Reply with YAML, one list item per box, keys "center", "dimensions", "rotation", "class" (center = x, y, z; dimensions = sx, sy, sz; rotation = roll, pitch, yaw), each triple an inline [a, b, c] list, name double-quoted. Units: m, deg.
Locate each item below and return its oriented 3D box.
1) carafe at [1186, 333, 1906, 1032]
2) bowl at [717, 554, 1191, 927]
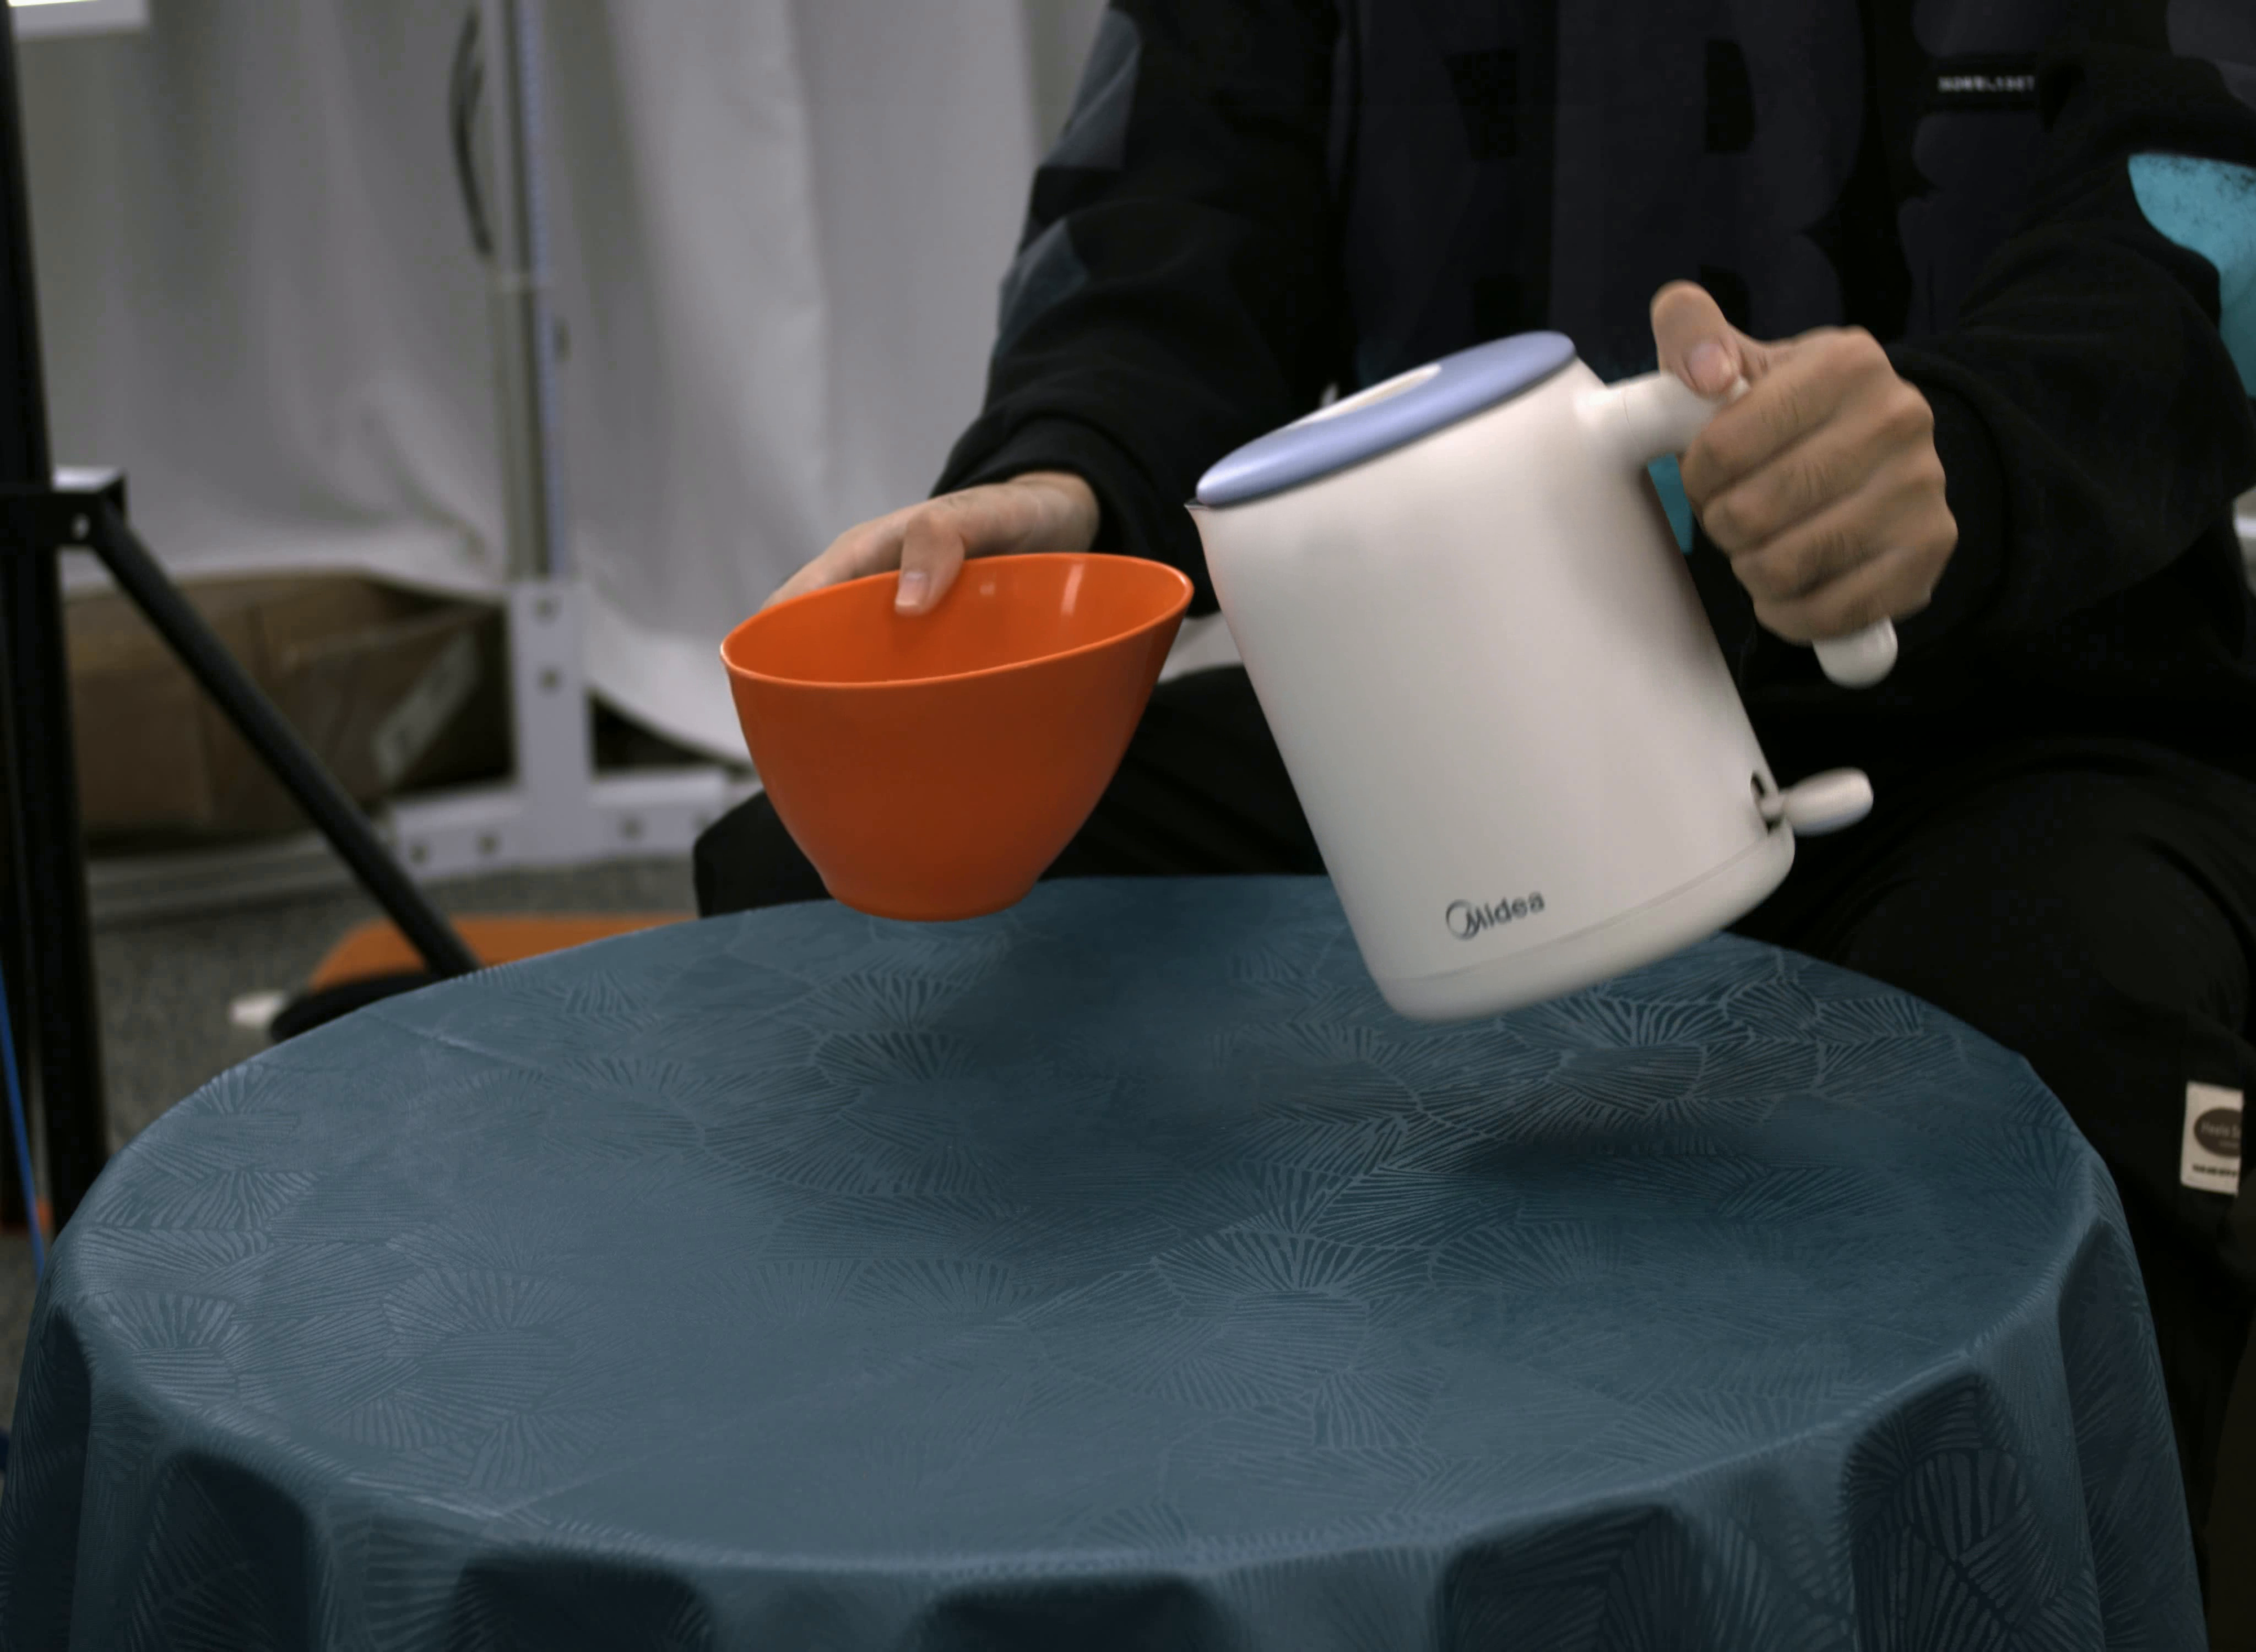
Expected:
- center: [0.128, -0.047, 1.541]
  dimensions: [0.193, 0.182, 0.131]
  rotation: [-15, 11, 25]
  class: "carafe"
- center: [-0.055, -0.026, 1.664]
  dimensions: [0.147, 0.104, 0.149]
  rotation: [0, 22, -1]
  class: "bowl"
